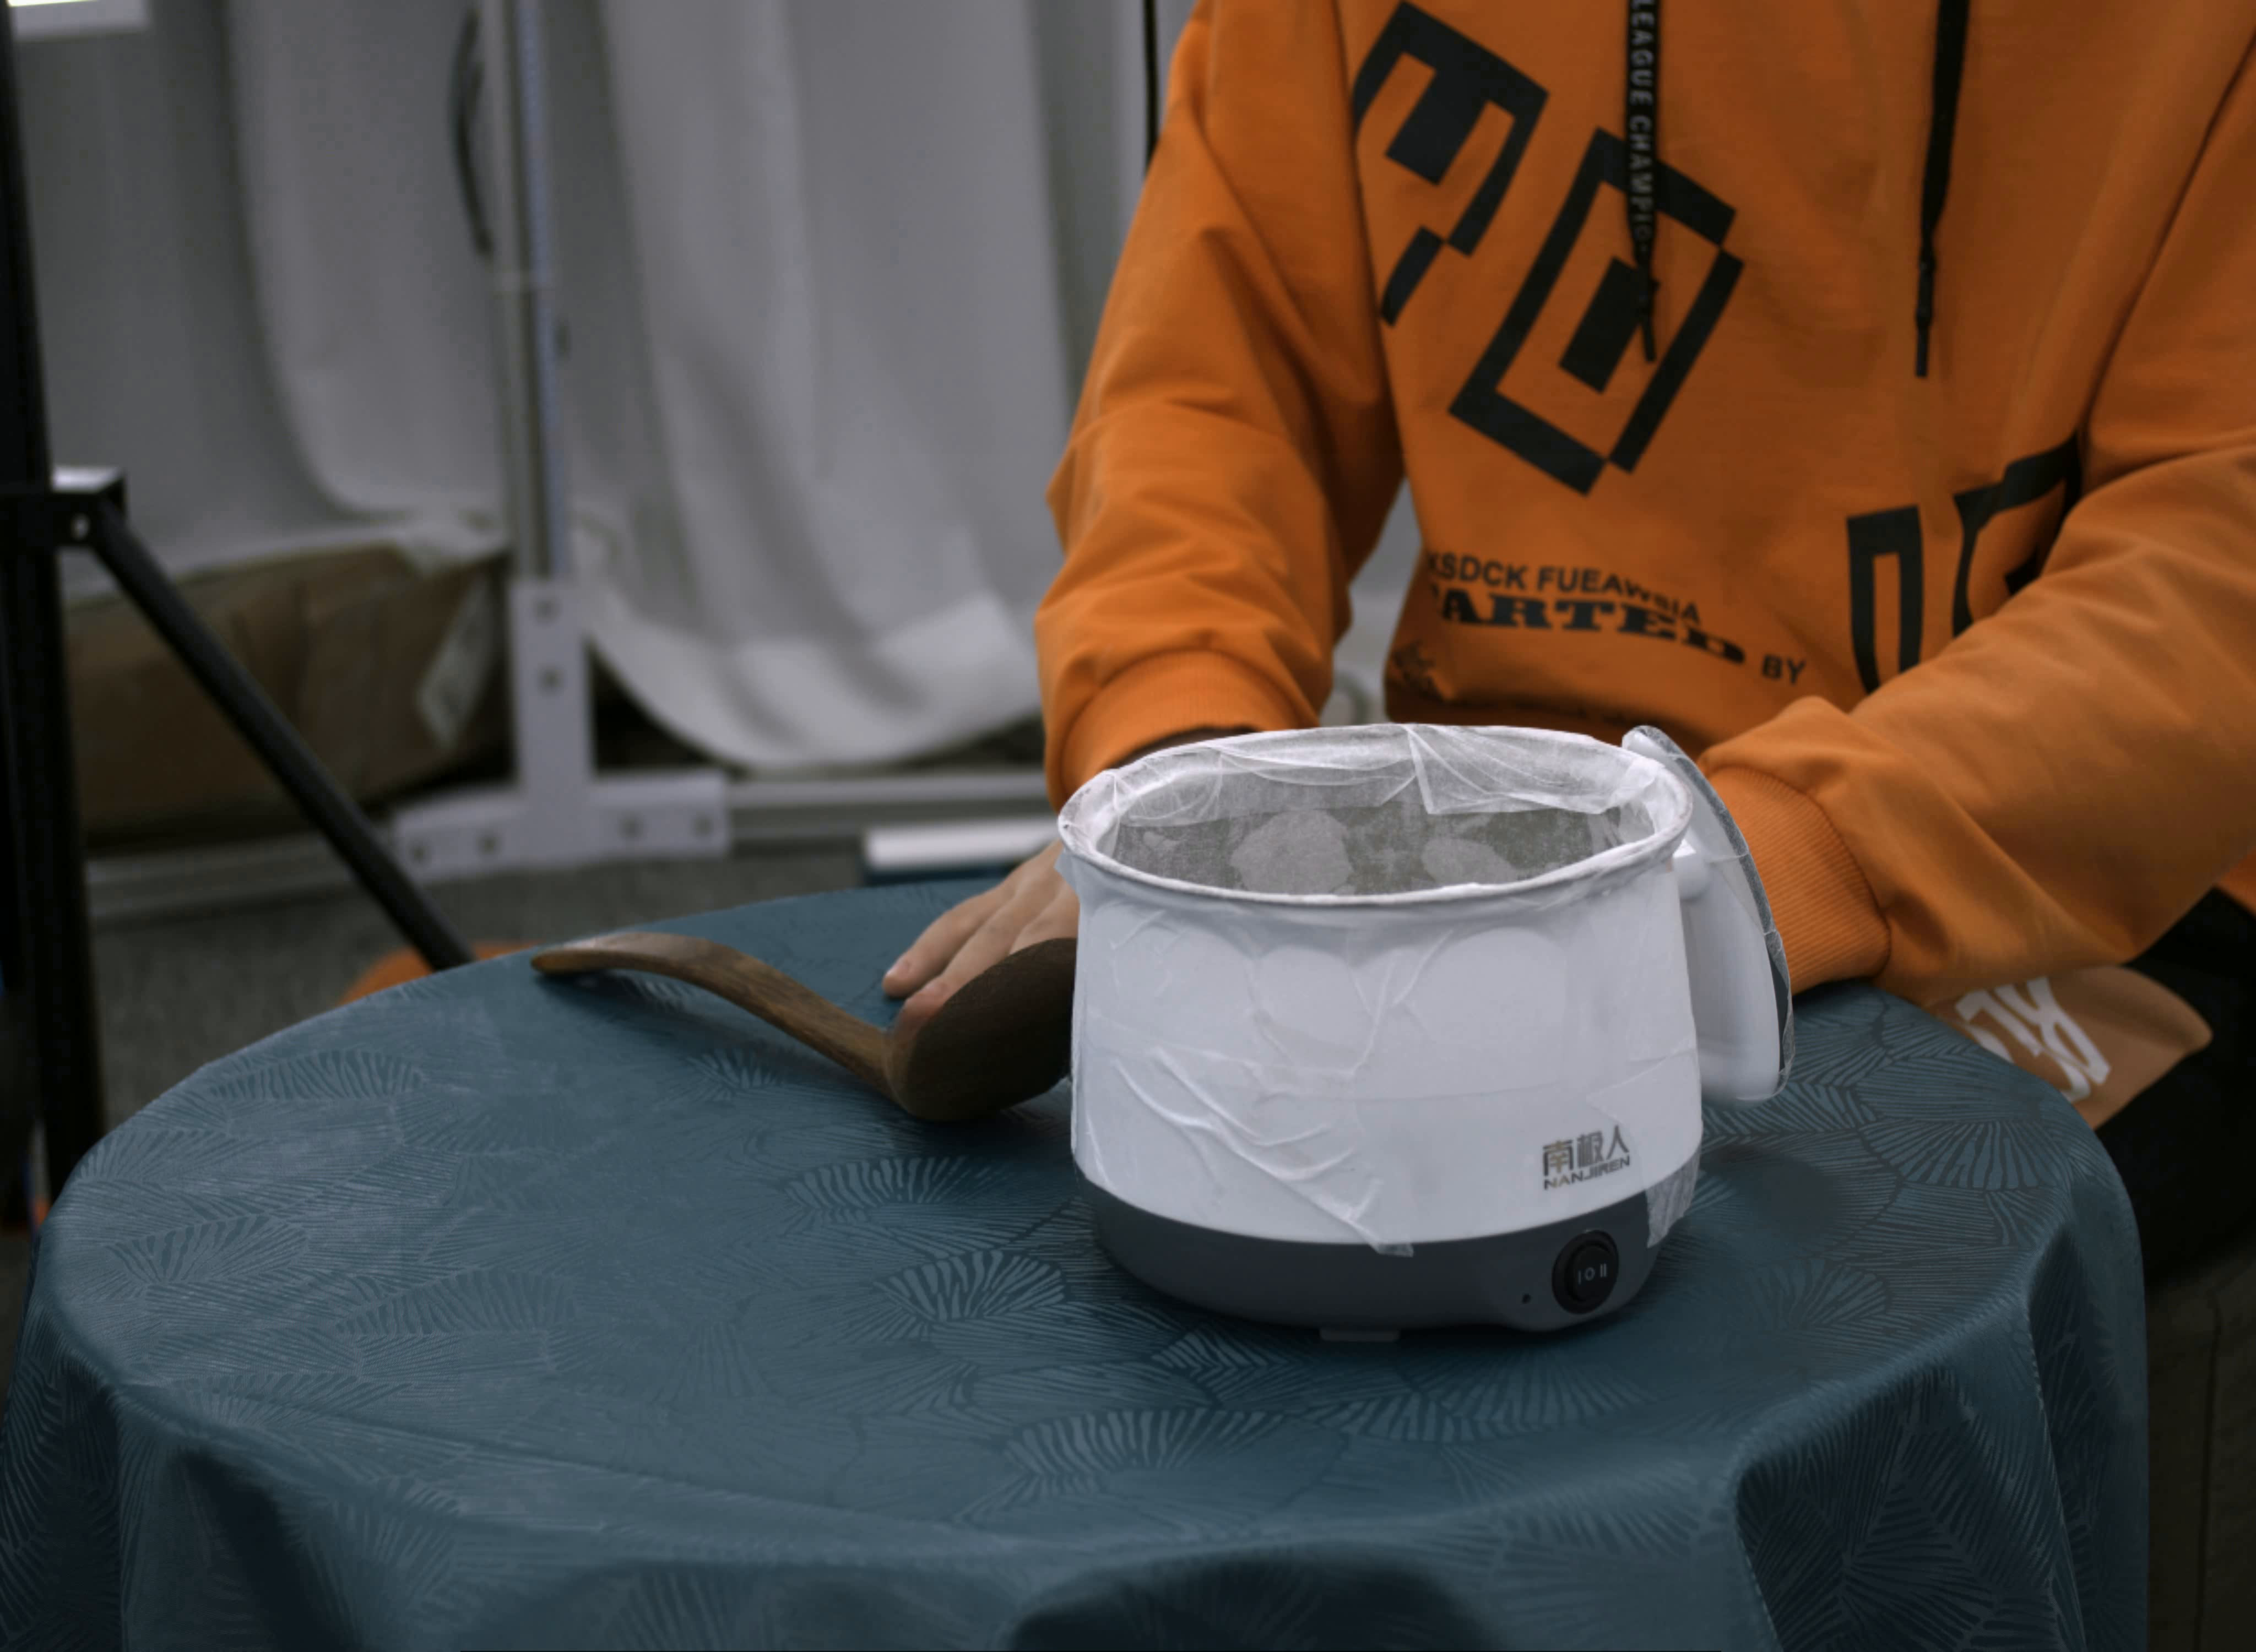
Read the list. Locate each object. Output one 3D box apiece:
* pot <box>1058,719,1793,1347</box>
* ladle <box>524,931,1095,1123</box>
[{"bbox_3d":[0.093,0.050,1.494,0.228,0.136,0.183,-14,20,-34],"label":"pot"},{"bbox_3d":[-0.108,0.041,1.687,0.074,0.071,0.280,-11,18,-37],"label":"ladle"}]
